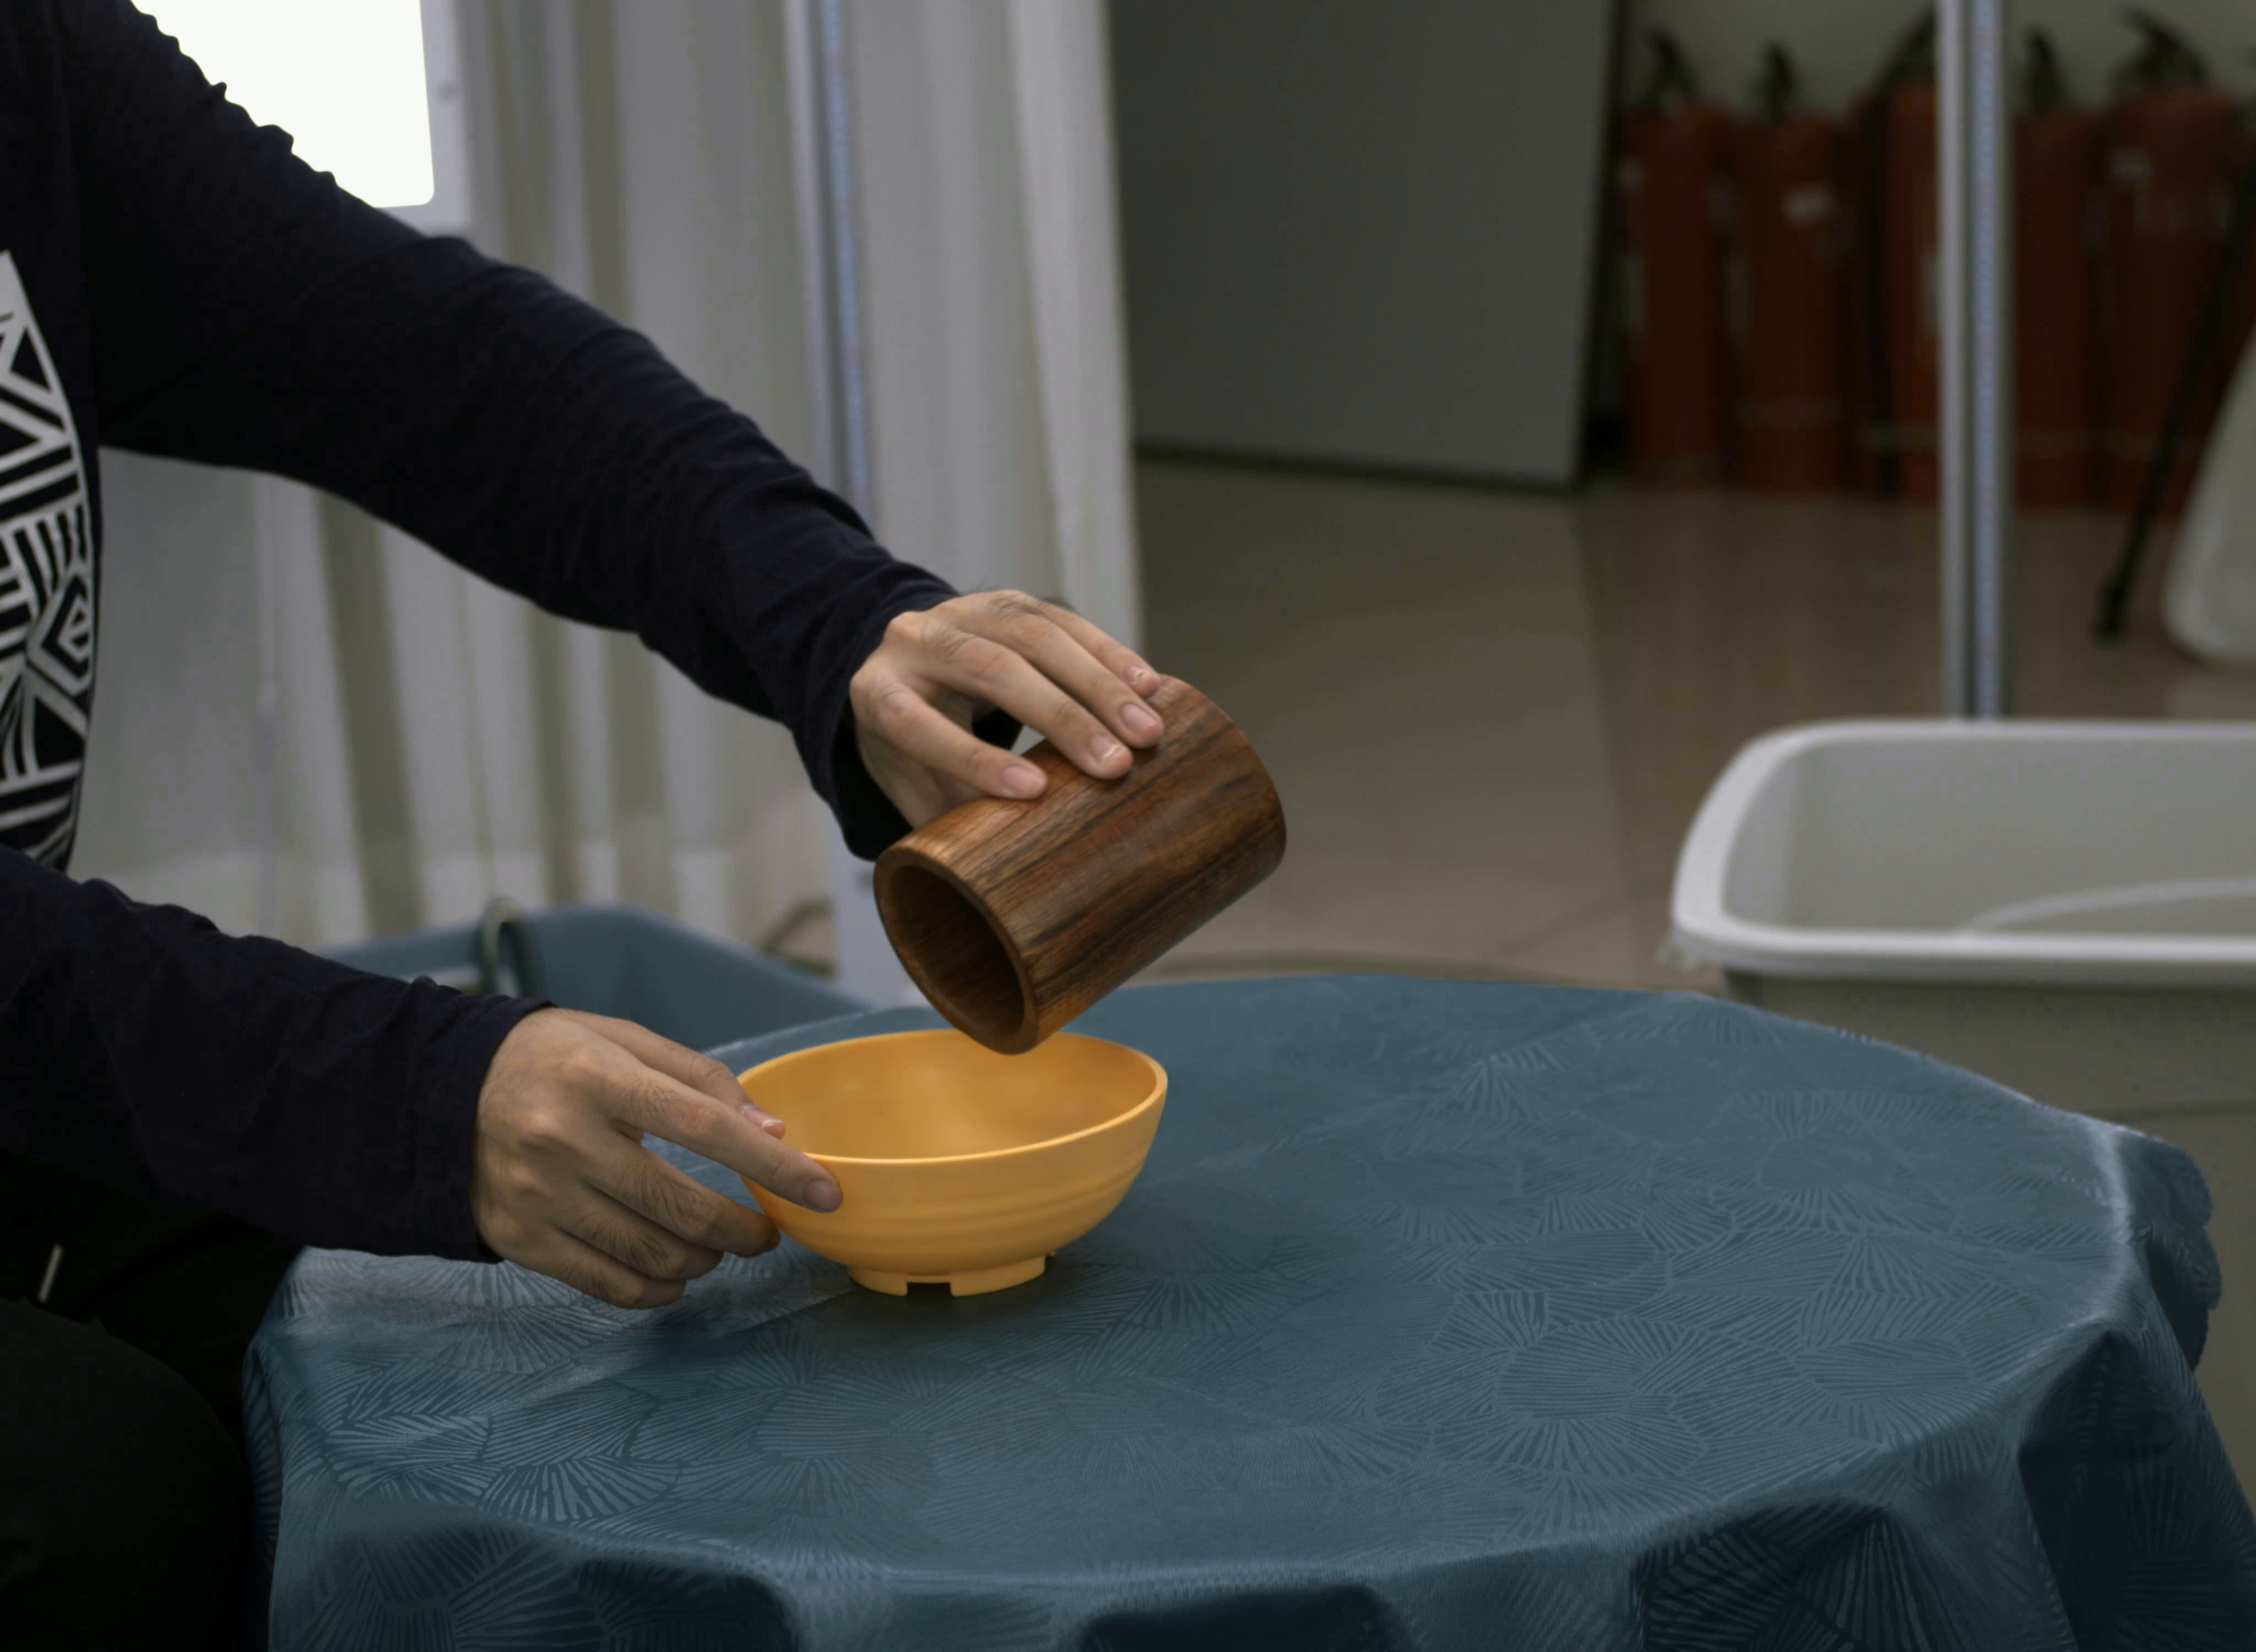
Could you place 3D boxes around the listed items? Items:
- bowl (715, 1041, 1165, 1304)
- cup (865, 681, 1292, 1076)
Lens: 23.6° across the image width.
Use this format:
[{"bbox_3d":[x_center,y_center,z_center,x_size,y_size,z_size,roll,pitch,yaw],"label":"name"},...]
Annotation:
[{"bbox_3d":[-0.057,0.113,1.705,0.143,0.061,0.145,-4,12,0],"label":"bowl"},{"bbox_3d":[-0.016,0.016,1.729,0.116,0.088,0.088,-31,25,-28],"label":"cup"}]
